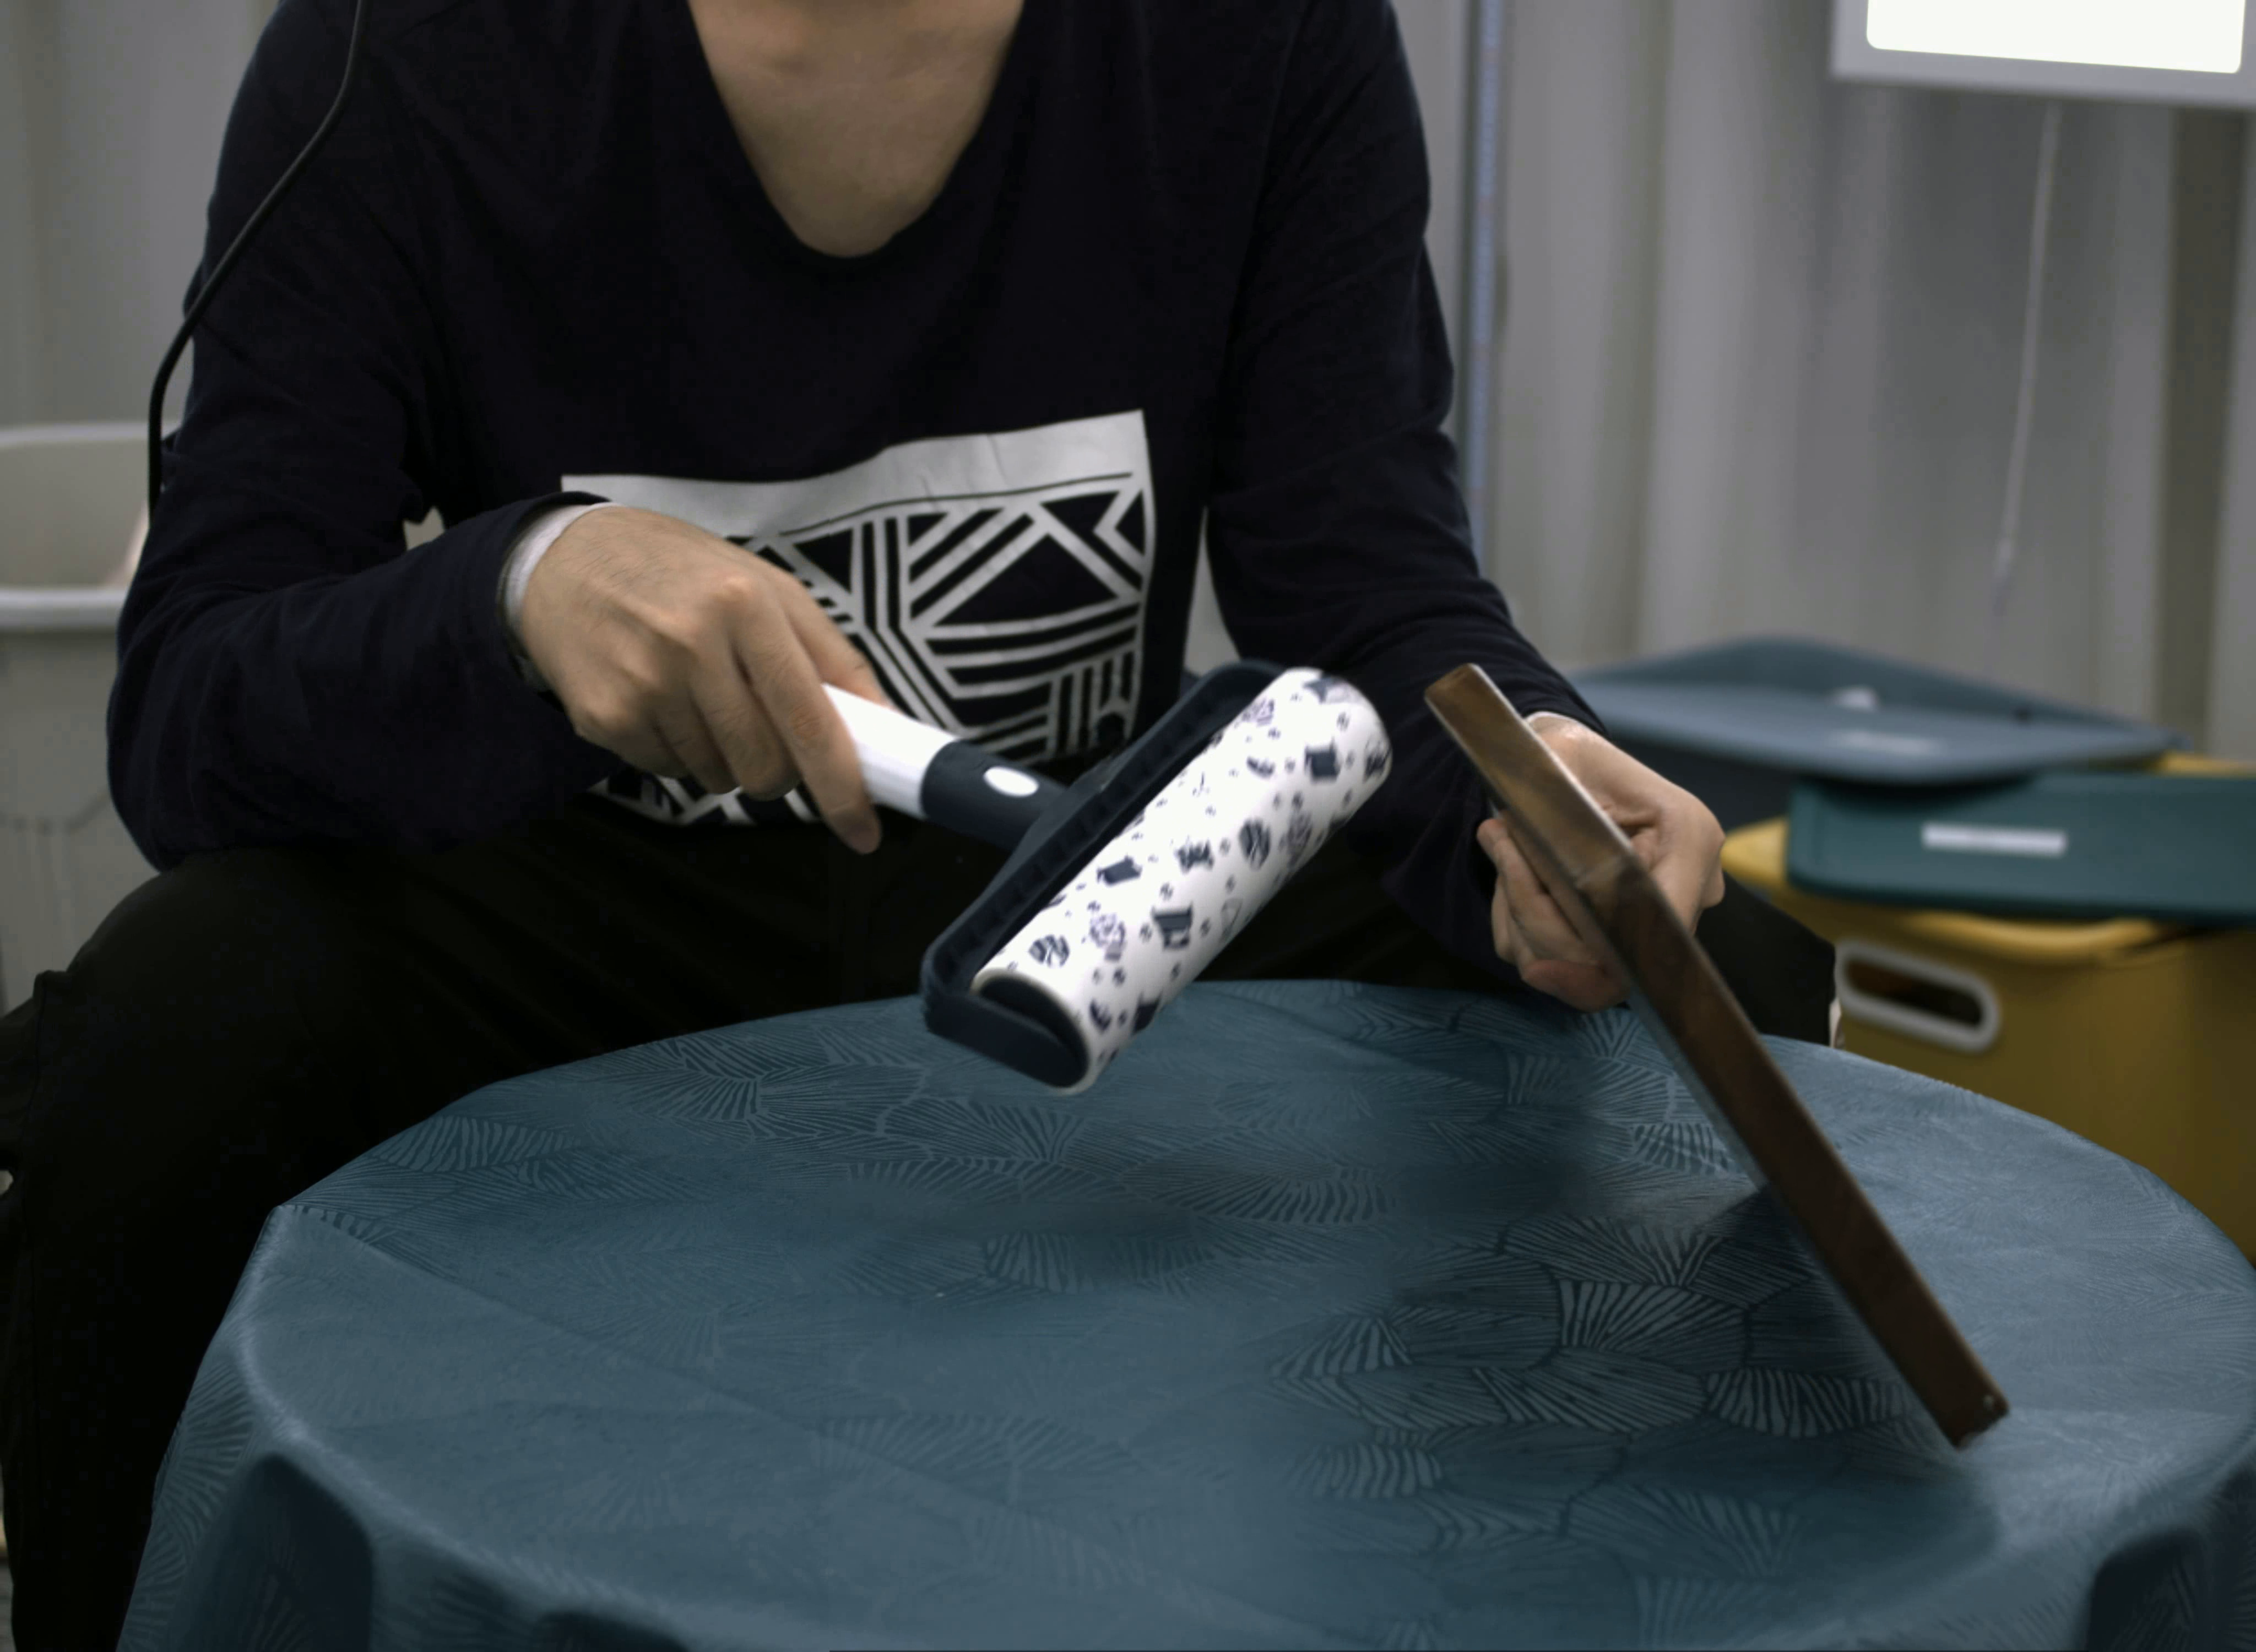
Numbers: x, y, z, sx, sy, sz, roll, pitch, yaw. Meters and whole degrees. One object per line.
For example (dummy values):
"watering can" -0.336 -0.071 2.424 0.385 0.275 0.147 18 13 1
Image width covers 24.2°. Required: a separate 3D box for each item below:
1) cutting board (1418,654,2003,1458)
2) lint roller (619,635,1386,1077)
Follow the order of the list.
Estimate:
"cutting board" 0.155 0.047 1.538 0.023 0.203 0.349 -34 15 2
"lint roller" -0.064 -0.020 1.649 0.244 0.051 0.176 21 50 28
